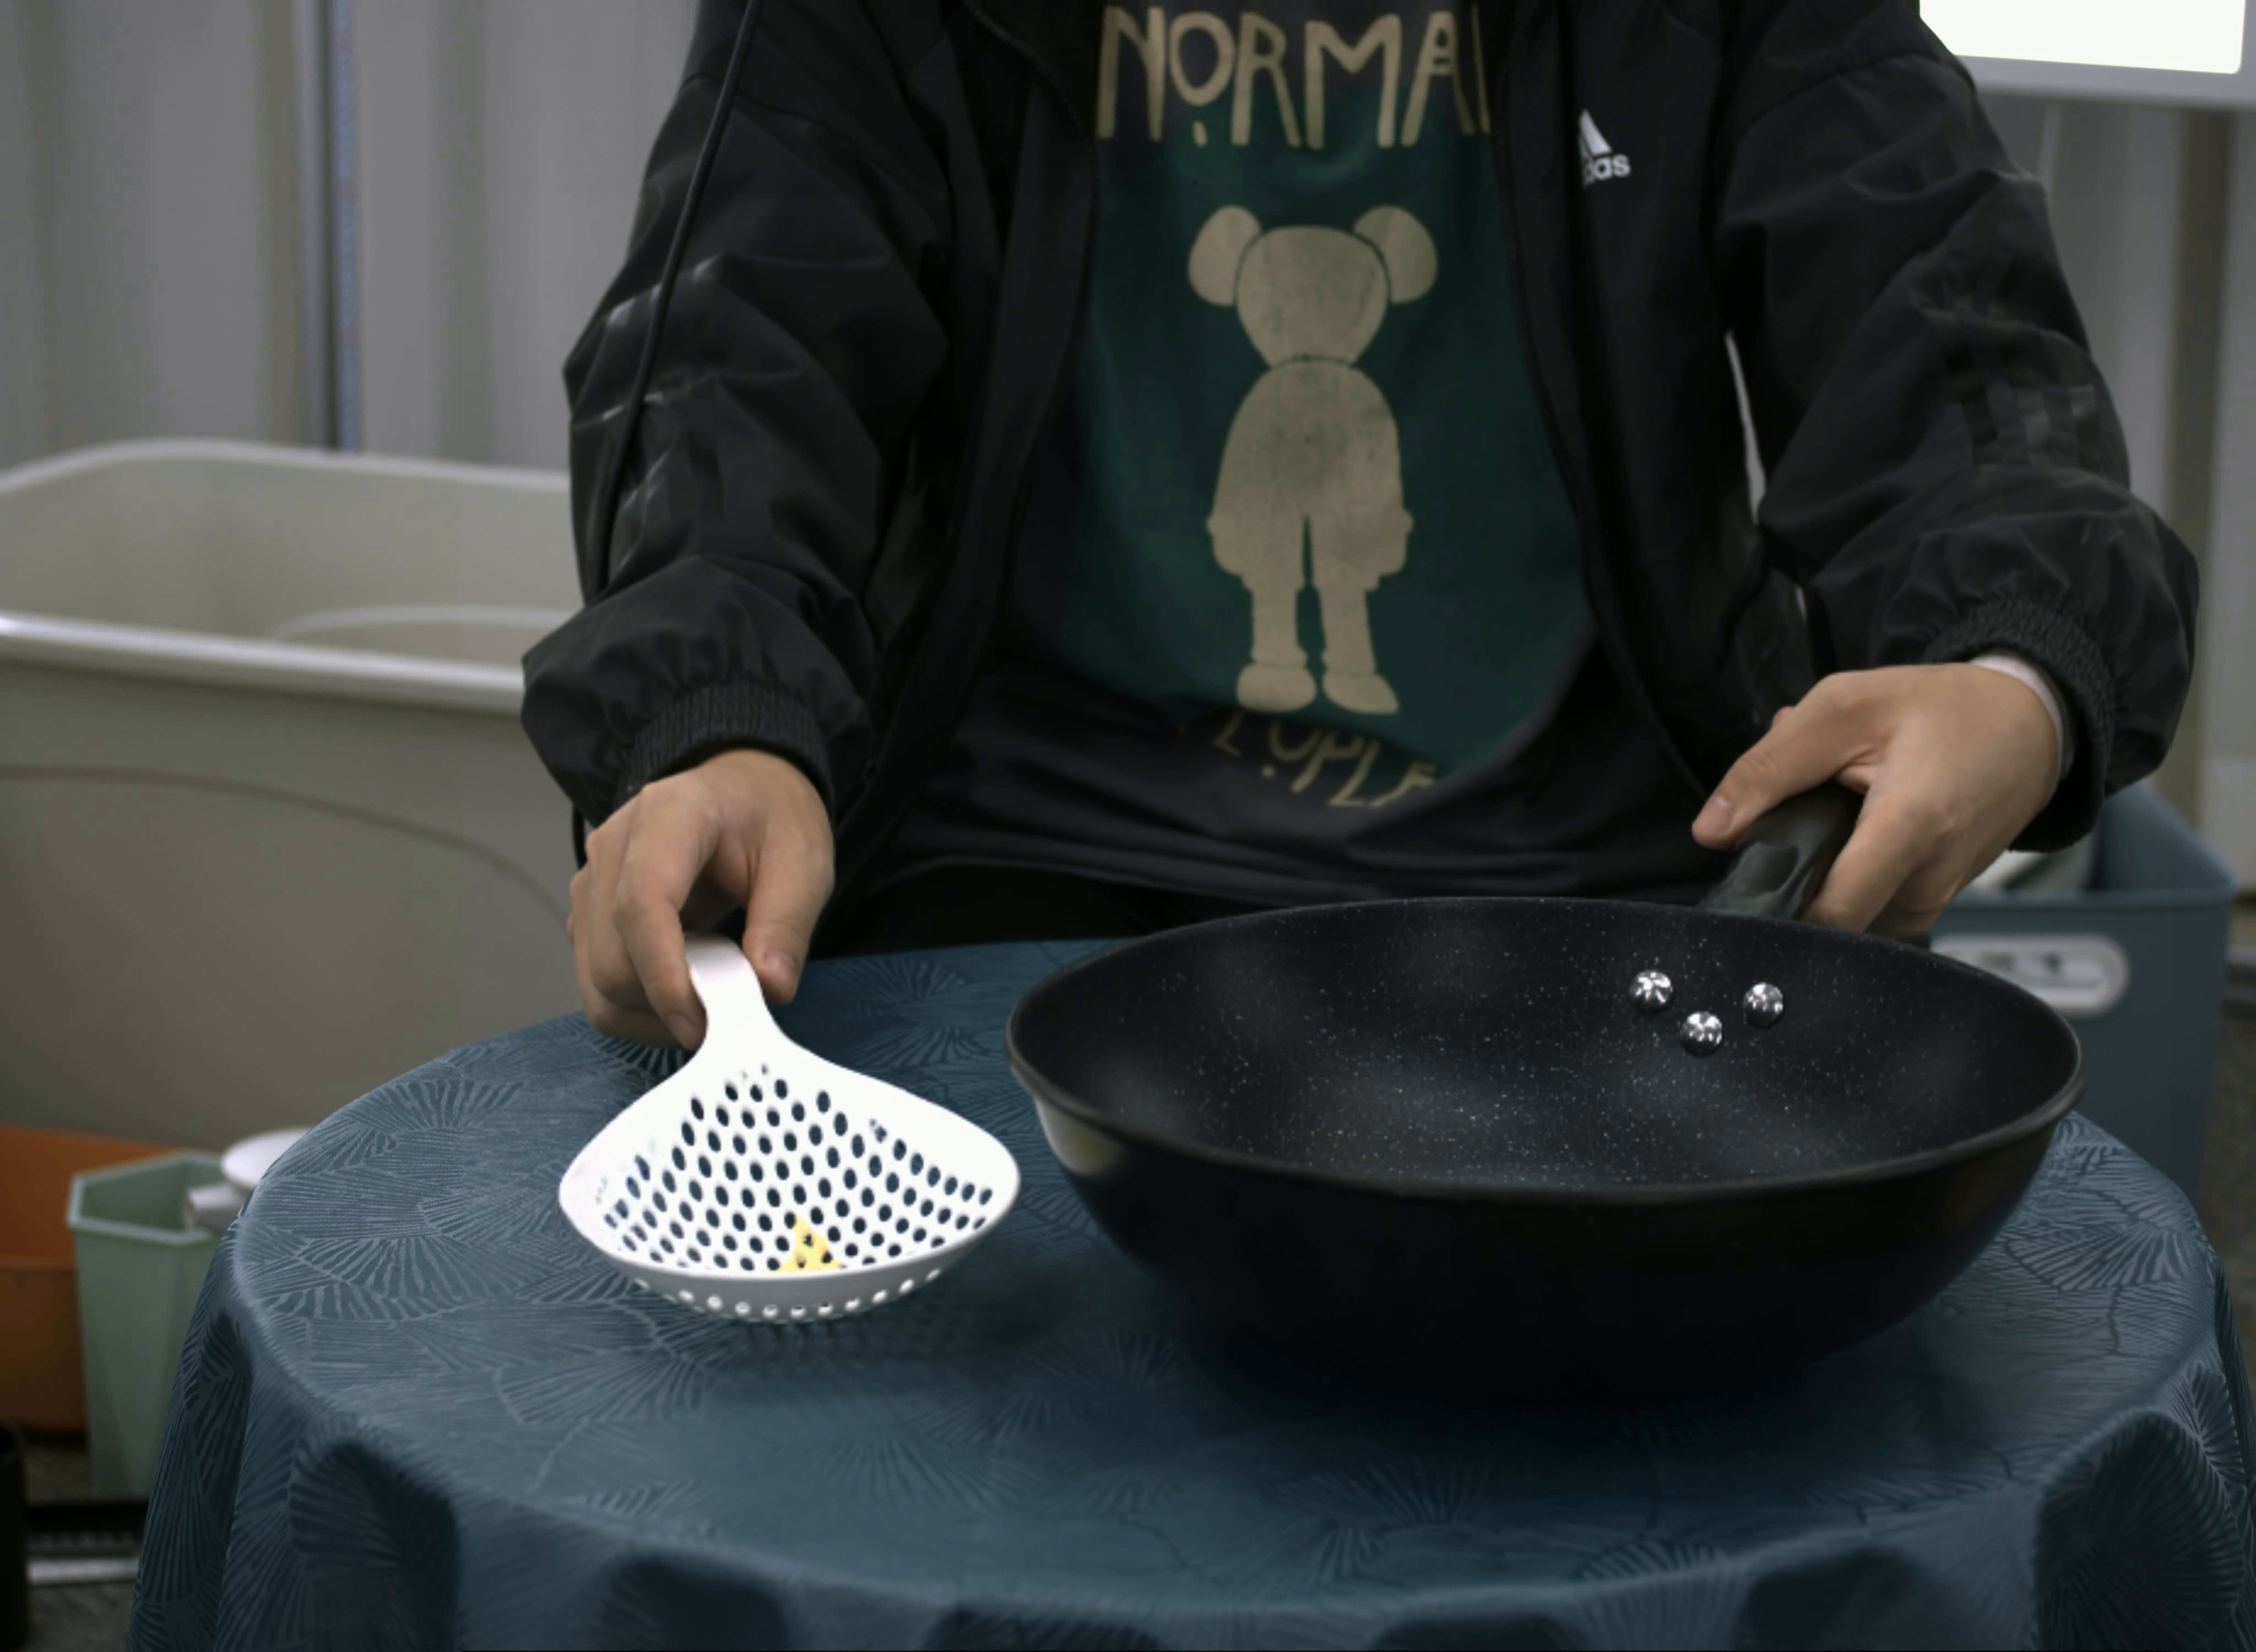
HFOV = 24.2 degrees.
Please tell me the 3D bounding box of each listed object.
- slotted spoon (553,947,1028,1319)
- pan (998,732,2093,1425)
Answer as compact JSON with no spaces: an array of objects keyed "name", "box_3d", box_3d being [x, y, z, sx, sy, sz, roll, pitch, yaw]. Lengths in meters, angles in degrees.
[{"name":"slotted spoon","box_3d":[-0.117,0.080,1.622,0.137,0.051,0.344,-6,22,-9]},{"name":"pan","box_3d":[0.153,0.073,1.576,0.307,0.112,0.478,8,16,24]}]
